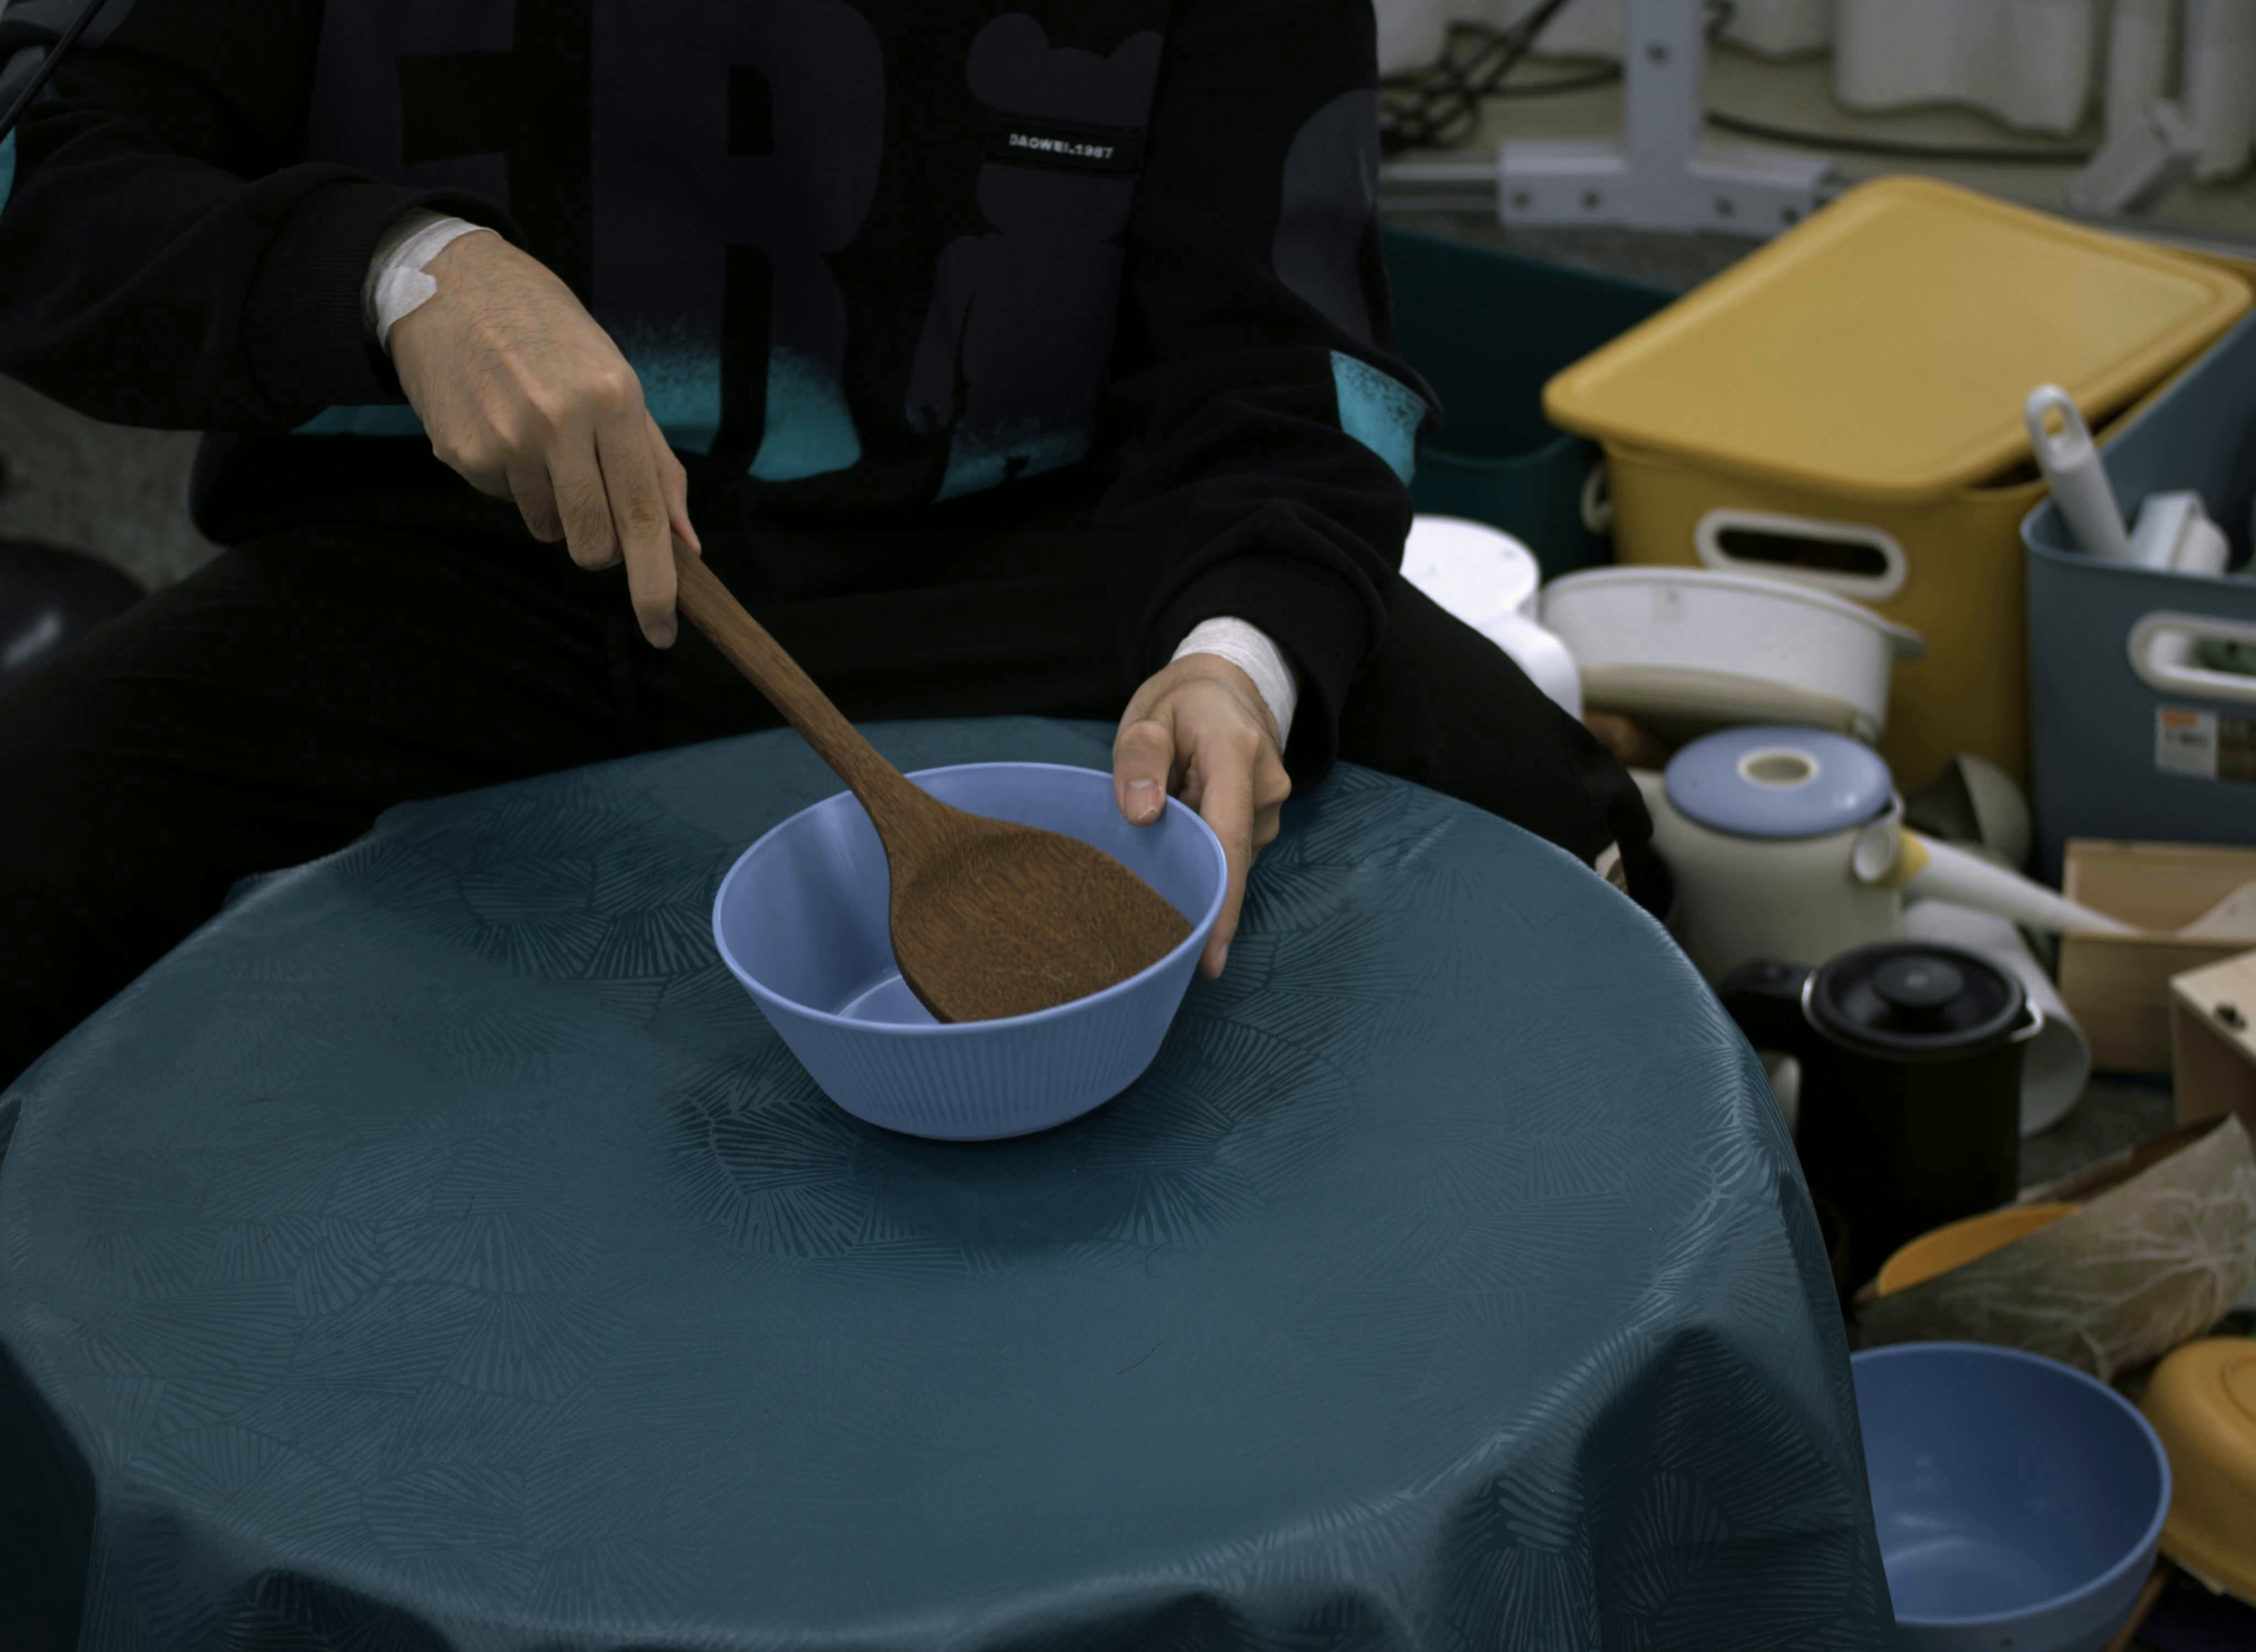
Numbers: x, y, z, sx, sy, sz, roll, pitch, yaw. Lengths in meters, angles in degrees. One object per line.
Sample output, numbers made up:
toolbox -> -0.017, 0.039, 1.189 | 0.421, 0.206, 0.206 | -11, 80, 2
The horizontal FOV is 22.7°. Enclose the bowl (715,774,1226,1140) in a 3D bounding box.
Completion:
bowl -> -0.051, 0.051, 1.918 | 0.175, 0.069, 0.179 | -4, 27, 2

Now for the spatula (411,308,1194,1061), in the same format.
spatula -> -0.128, -0.059, 1.947 | 0.097, 0.015, 0.388 | -31, 63, -30
